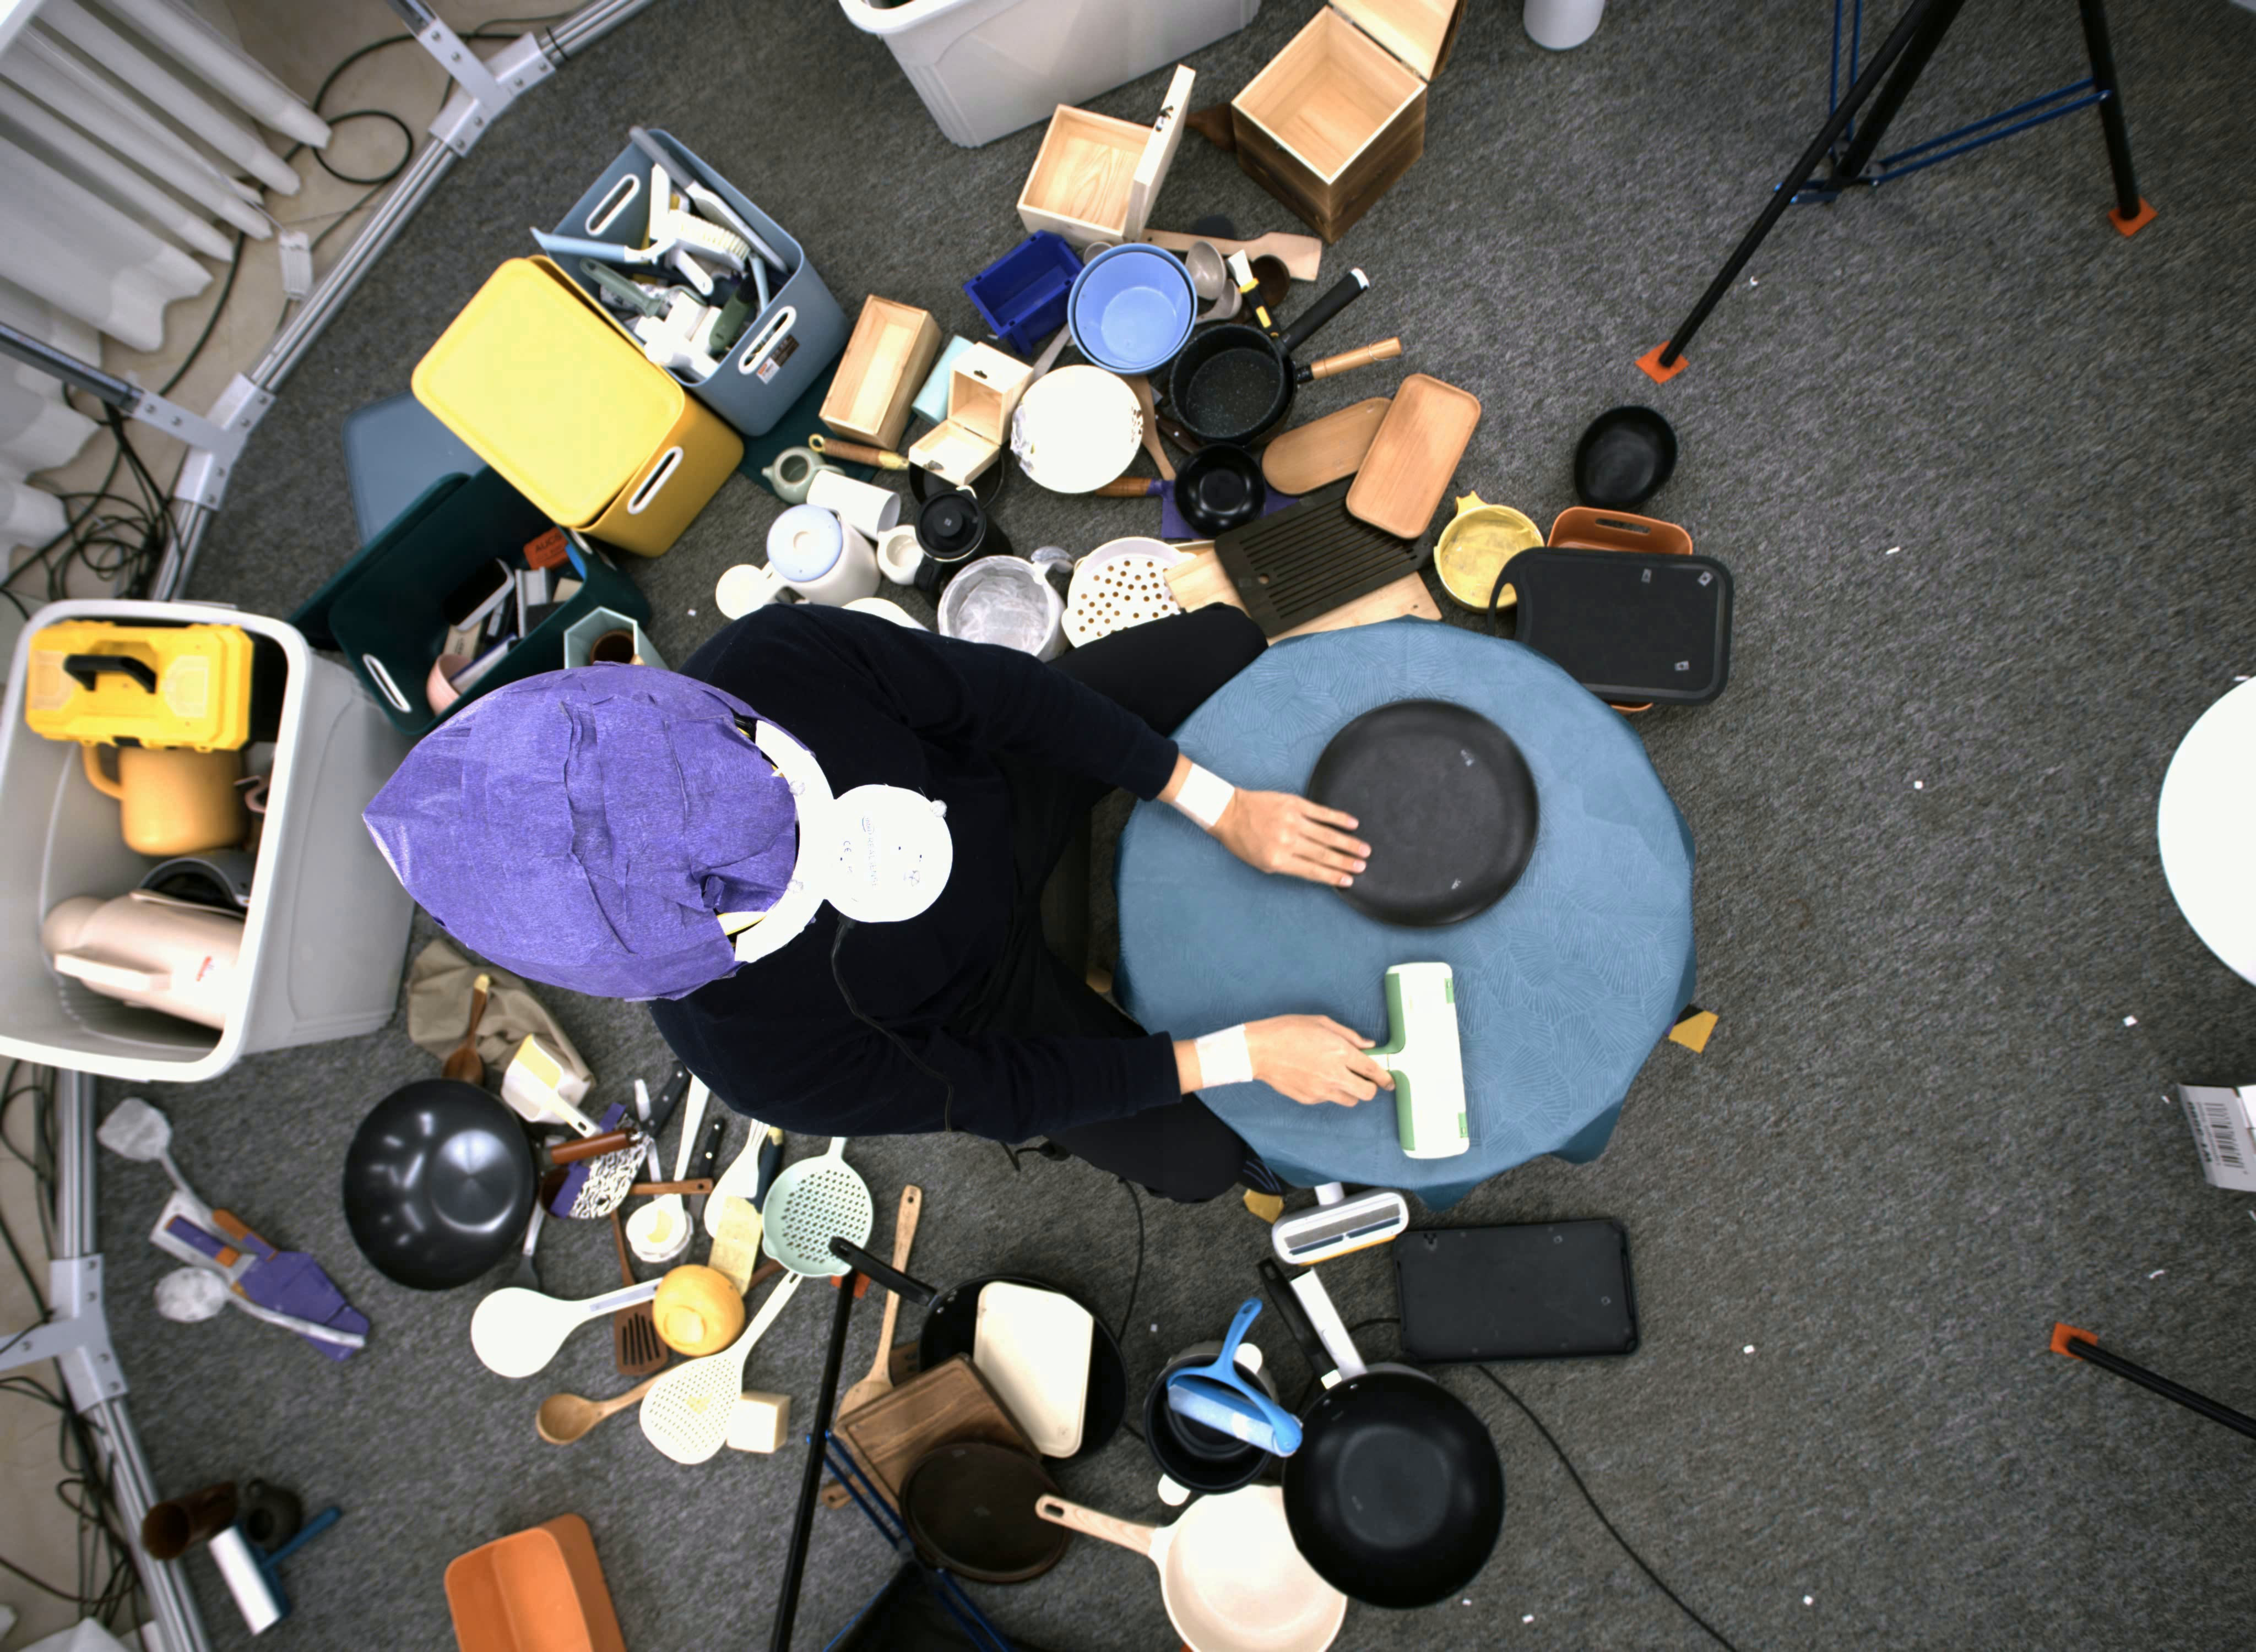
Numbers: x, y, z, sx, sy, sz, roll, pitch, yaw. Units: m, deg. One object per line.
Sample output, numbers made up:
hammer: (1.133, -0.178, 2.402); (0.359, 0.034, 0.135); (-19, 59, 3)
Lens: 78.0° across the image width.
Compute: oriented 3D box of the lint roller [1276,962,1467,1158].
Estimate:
lint roller: (0.247, 0.240, 1.402); (0.183, 0.083, 0.197); (-5, 85, -8)

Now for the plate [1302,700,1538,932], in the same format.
plate: (0.305, -0.012, 1.444); (0.245, 0.023, 0.243); (-1, 86, 9)
